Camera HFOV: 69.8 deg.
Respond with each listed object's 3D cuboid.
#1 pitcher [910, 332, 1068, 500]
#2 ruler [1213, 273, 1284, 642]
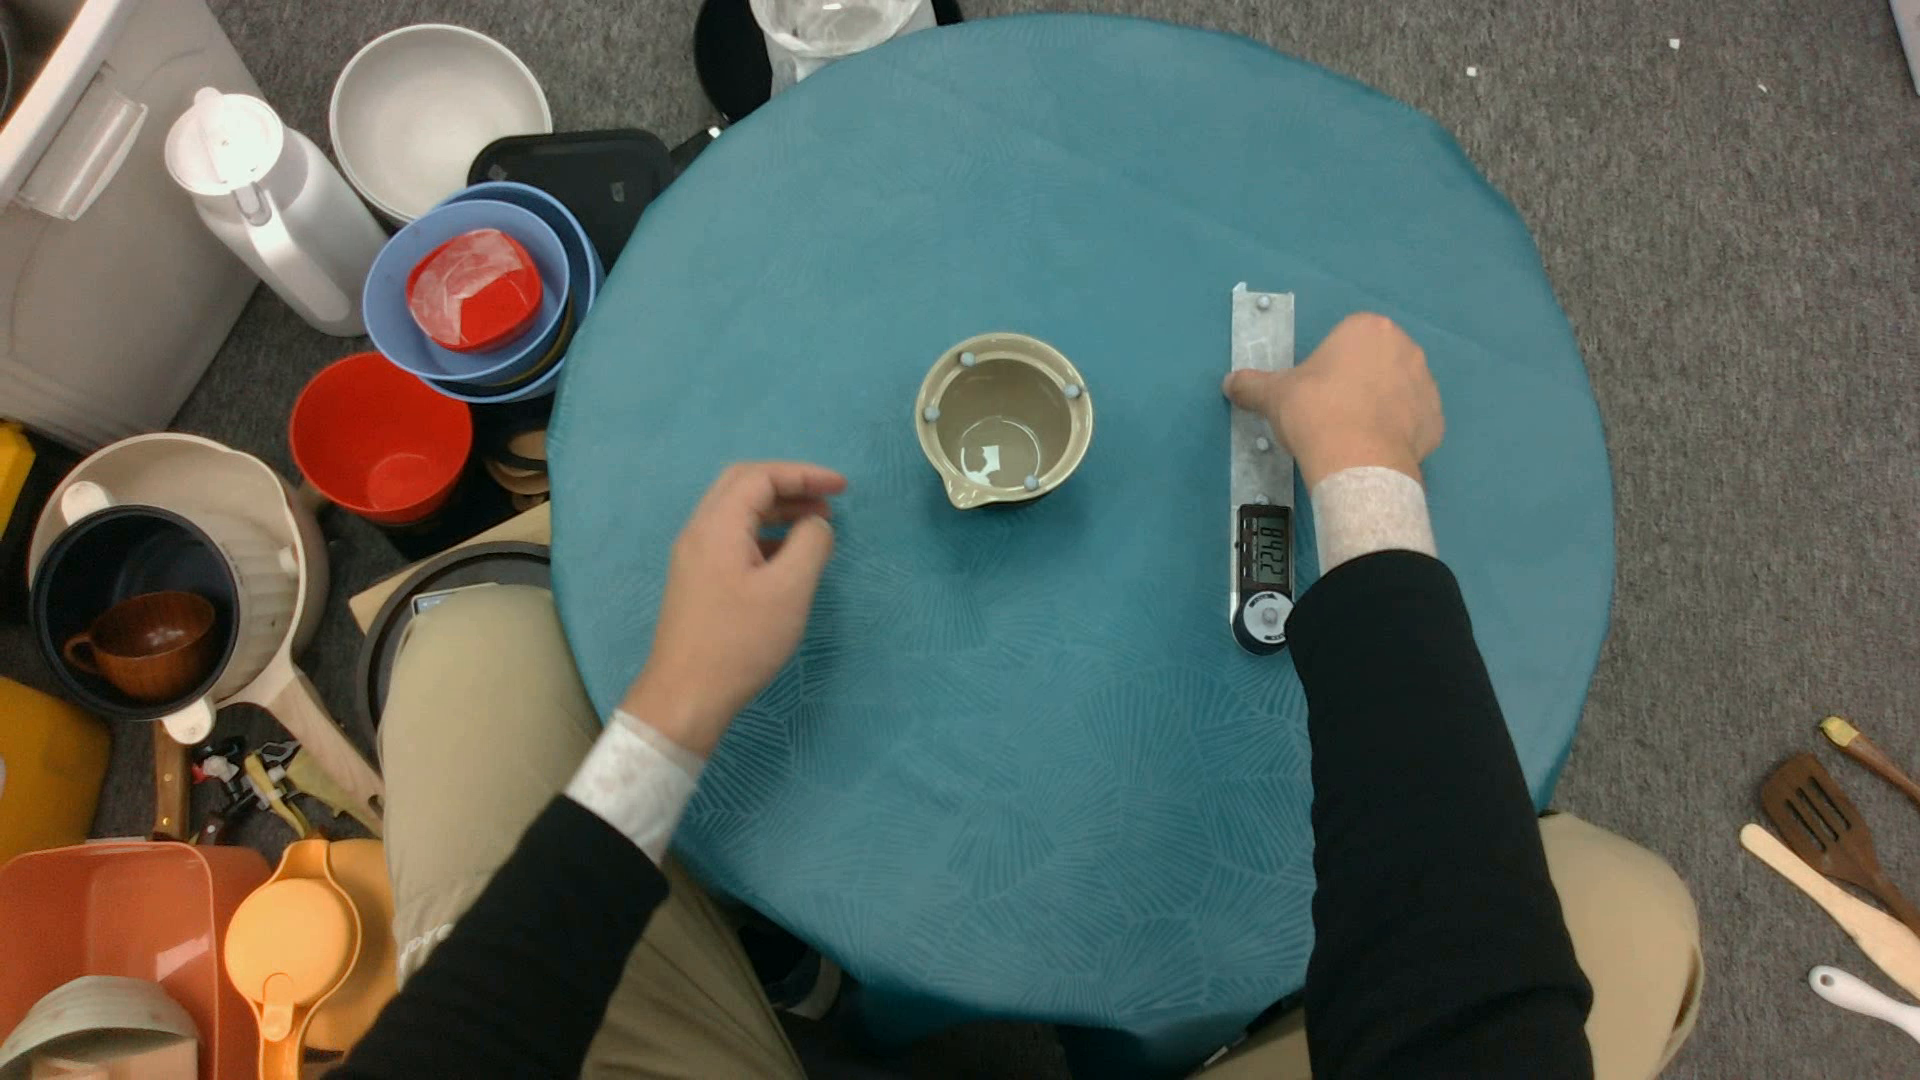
[{"bbox_3d":[0.012,-0.056,0.741,0.083,0.071,0.096,26,74,5],"label":"pitcher"},{"bbox_3d":[0.164,-0.052,0.771,0.038,0.024,0.218,6,75,-7],"label":"ruler"}]
